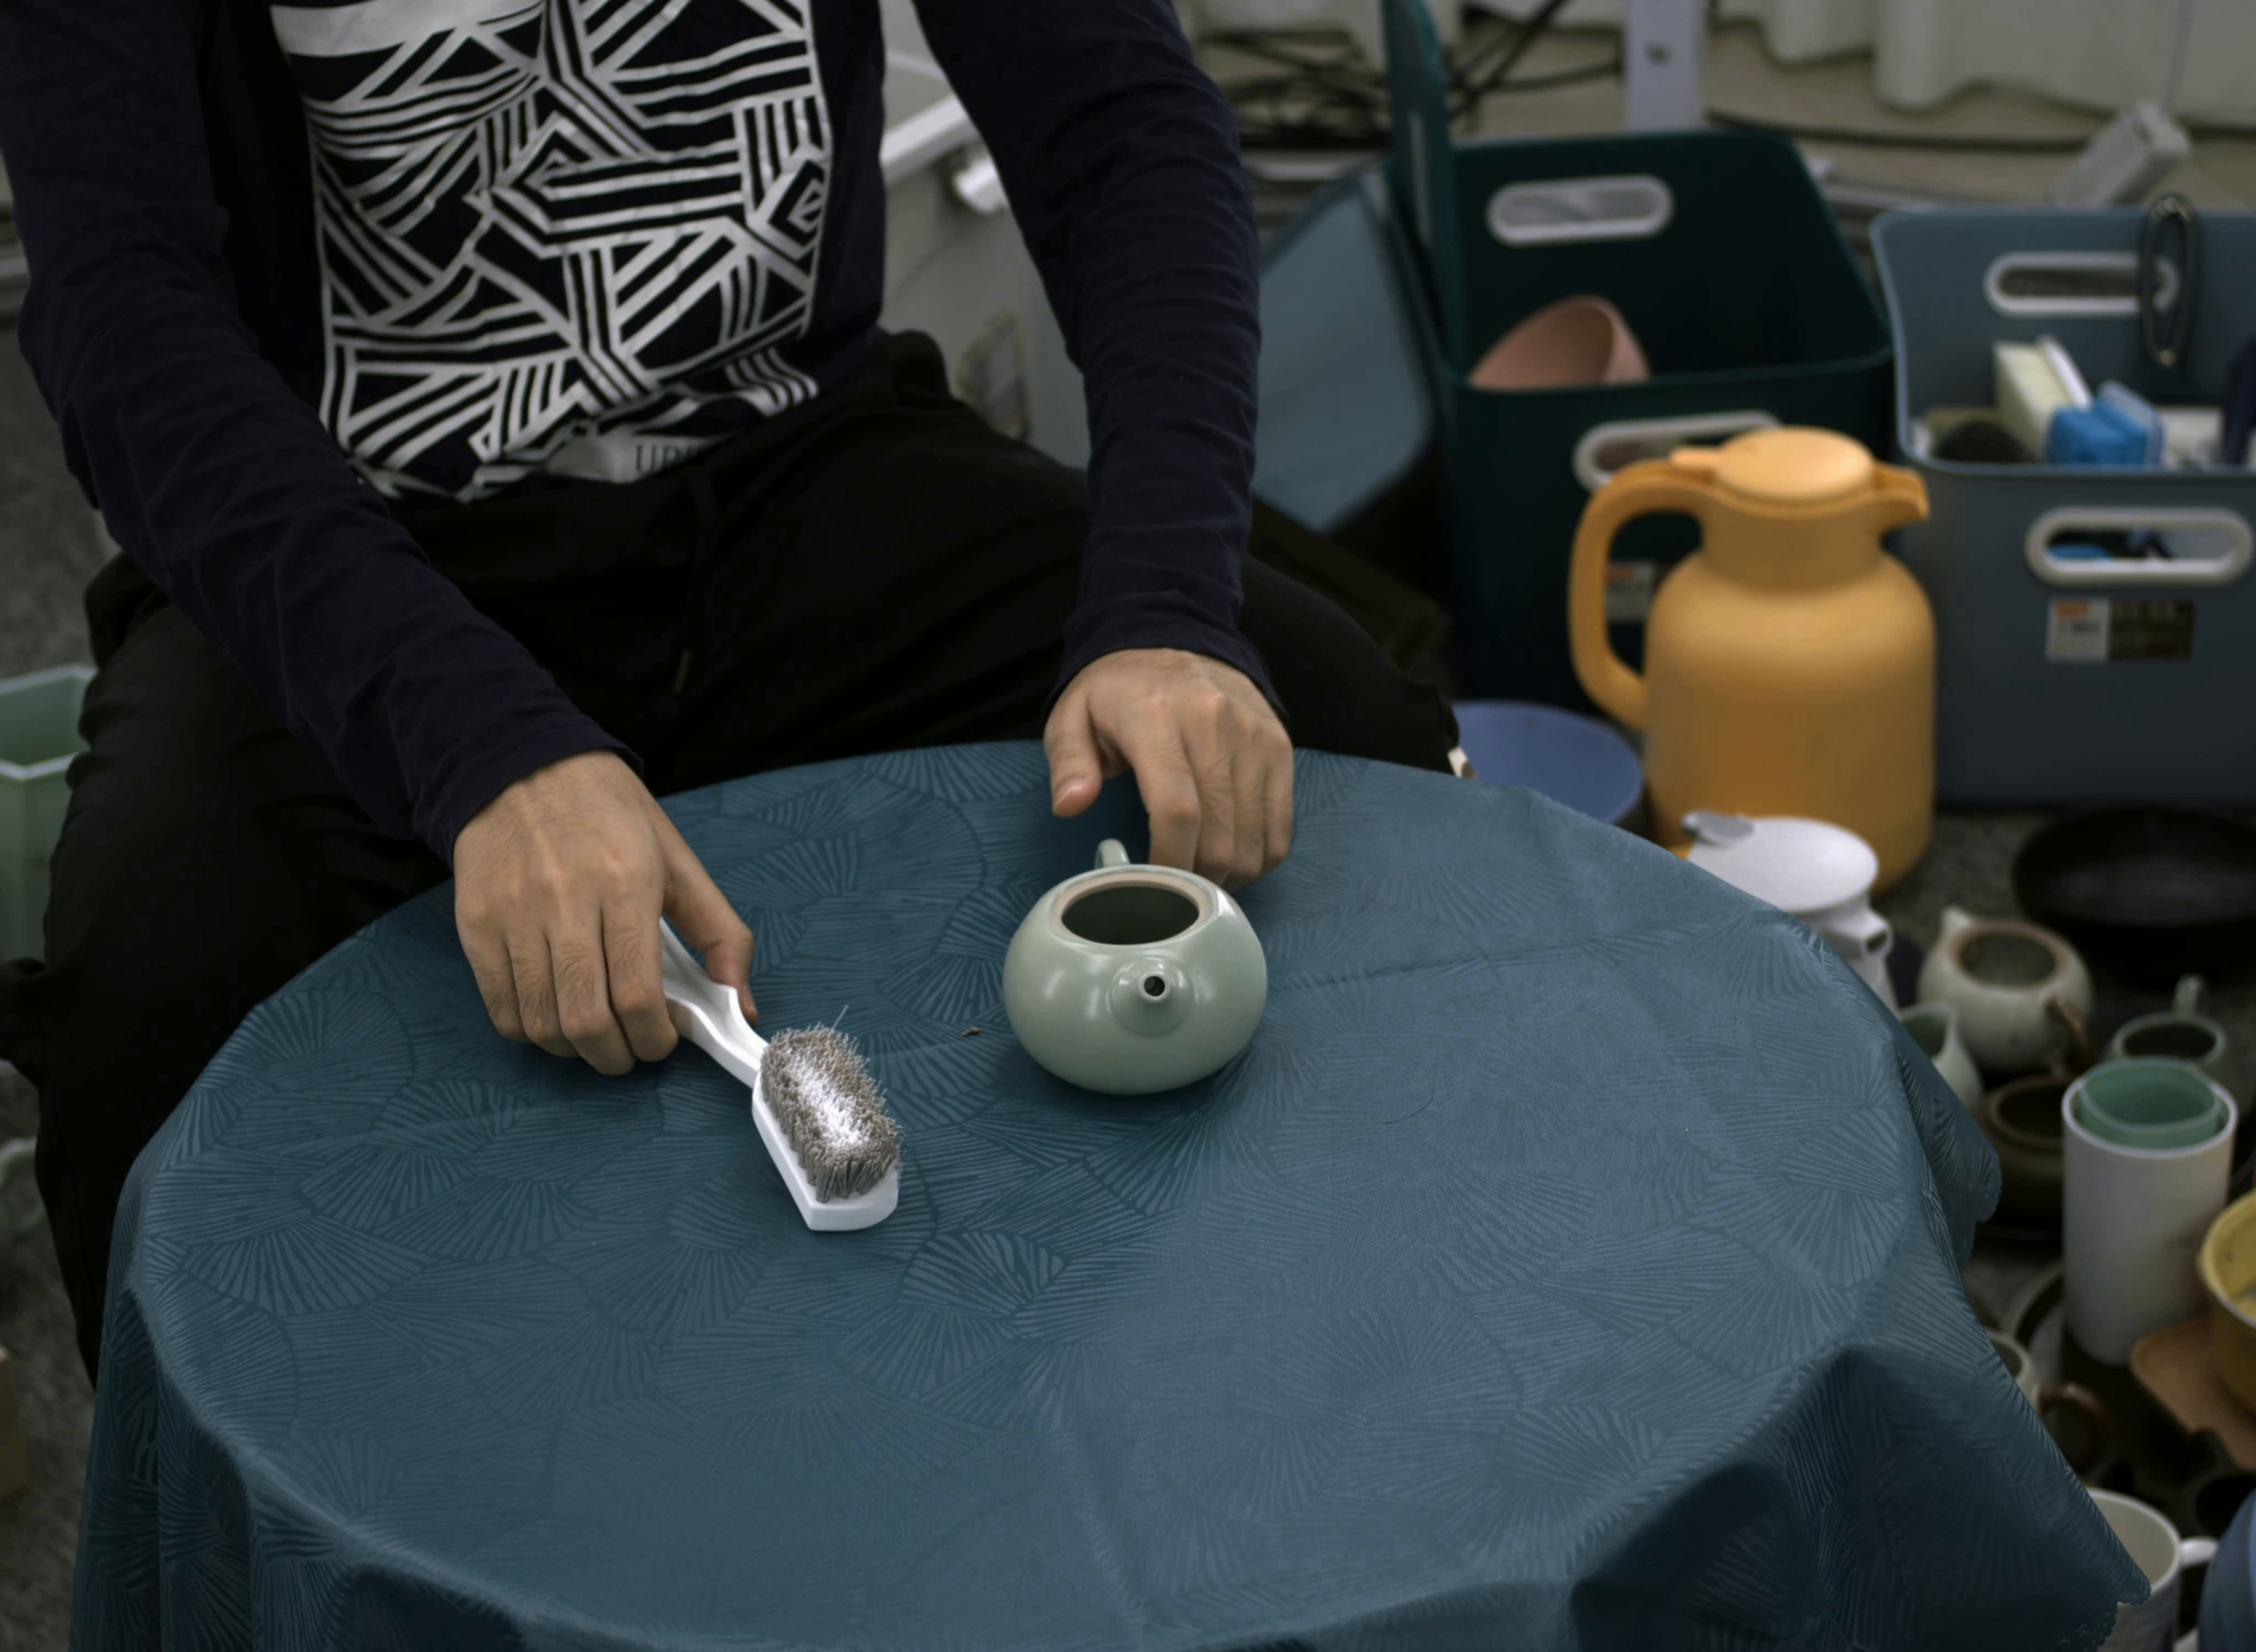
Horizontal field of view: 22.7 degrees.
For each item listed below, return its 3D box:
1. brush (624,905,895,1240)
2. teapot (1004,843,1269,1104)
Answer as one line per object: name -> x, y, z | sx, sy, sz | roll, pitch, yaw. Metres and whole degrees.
brush -> -0.132, 0.067, 1.926 | 0.034, 0.049, 0.245 | -15, 30, -16
teapot -> 0.002, 0.051, 1.934 | 0.091, 0.060, 0.130 | -9, 27, 1
